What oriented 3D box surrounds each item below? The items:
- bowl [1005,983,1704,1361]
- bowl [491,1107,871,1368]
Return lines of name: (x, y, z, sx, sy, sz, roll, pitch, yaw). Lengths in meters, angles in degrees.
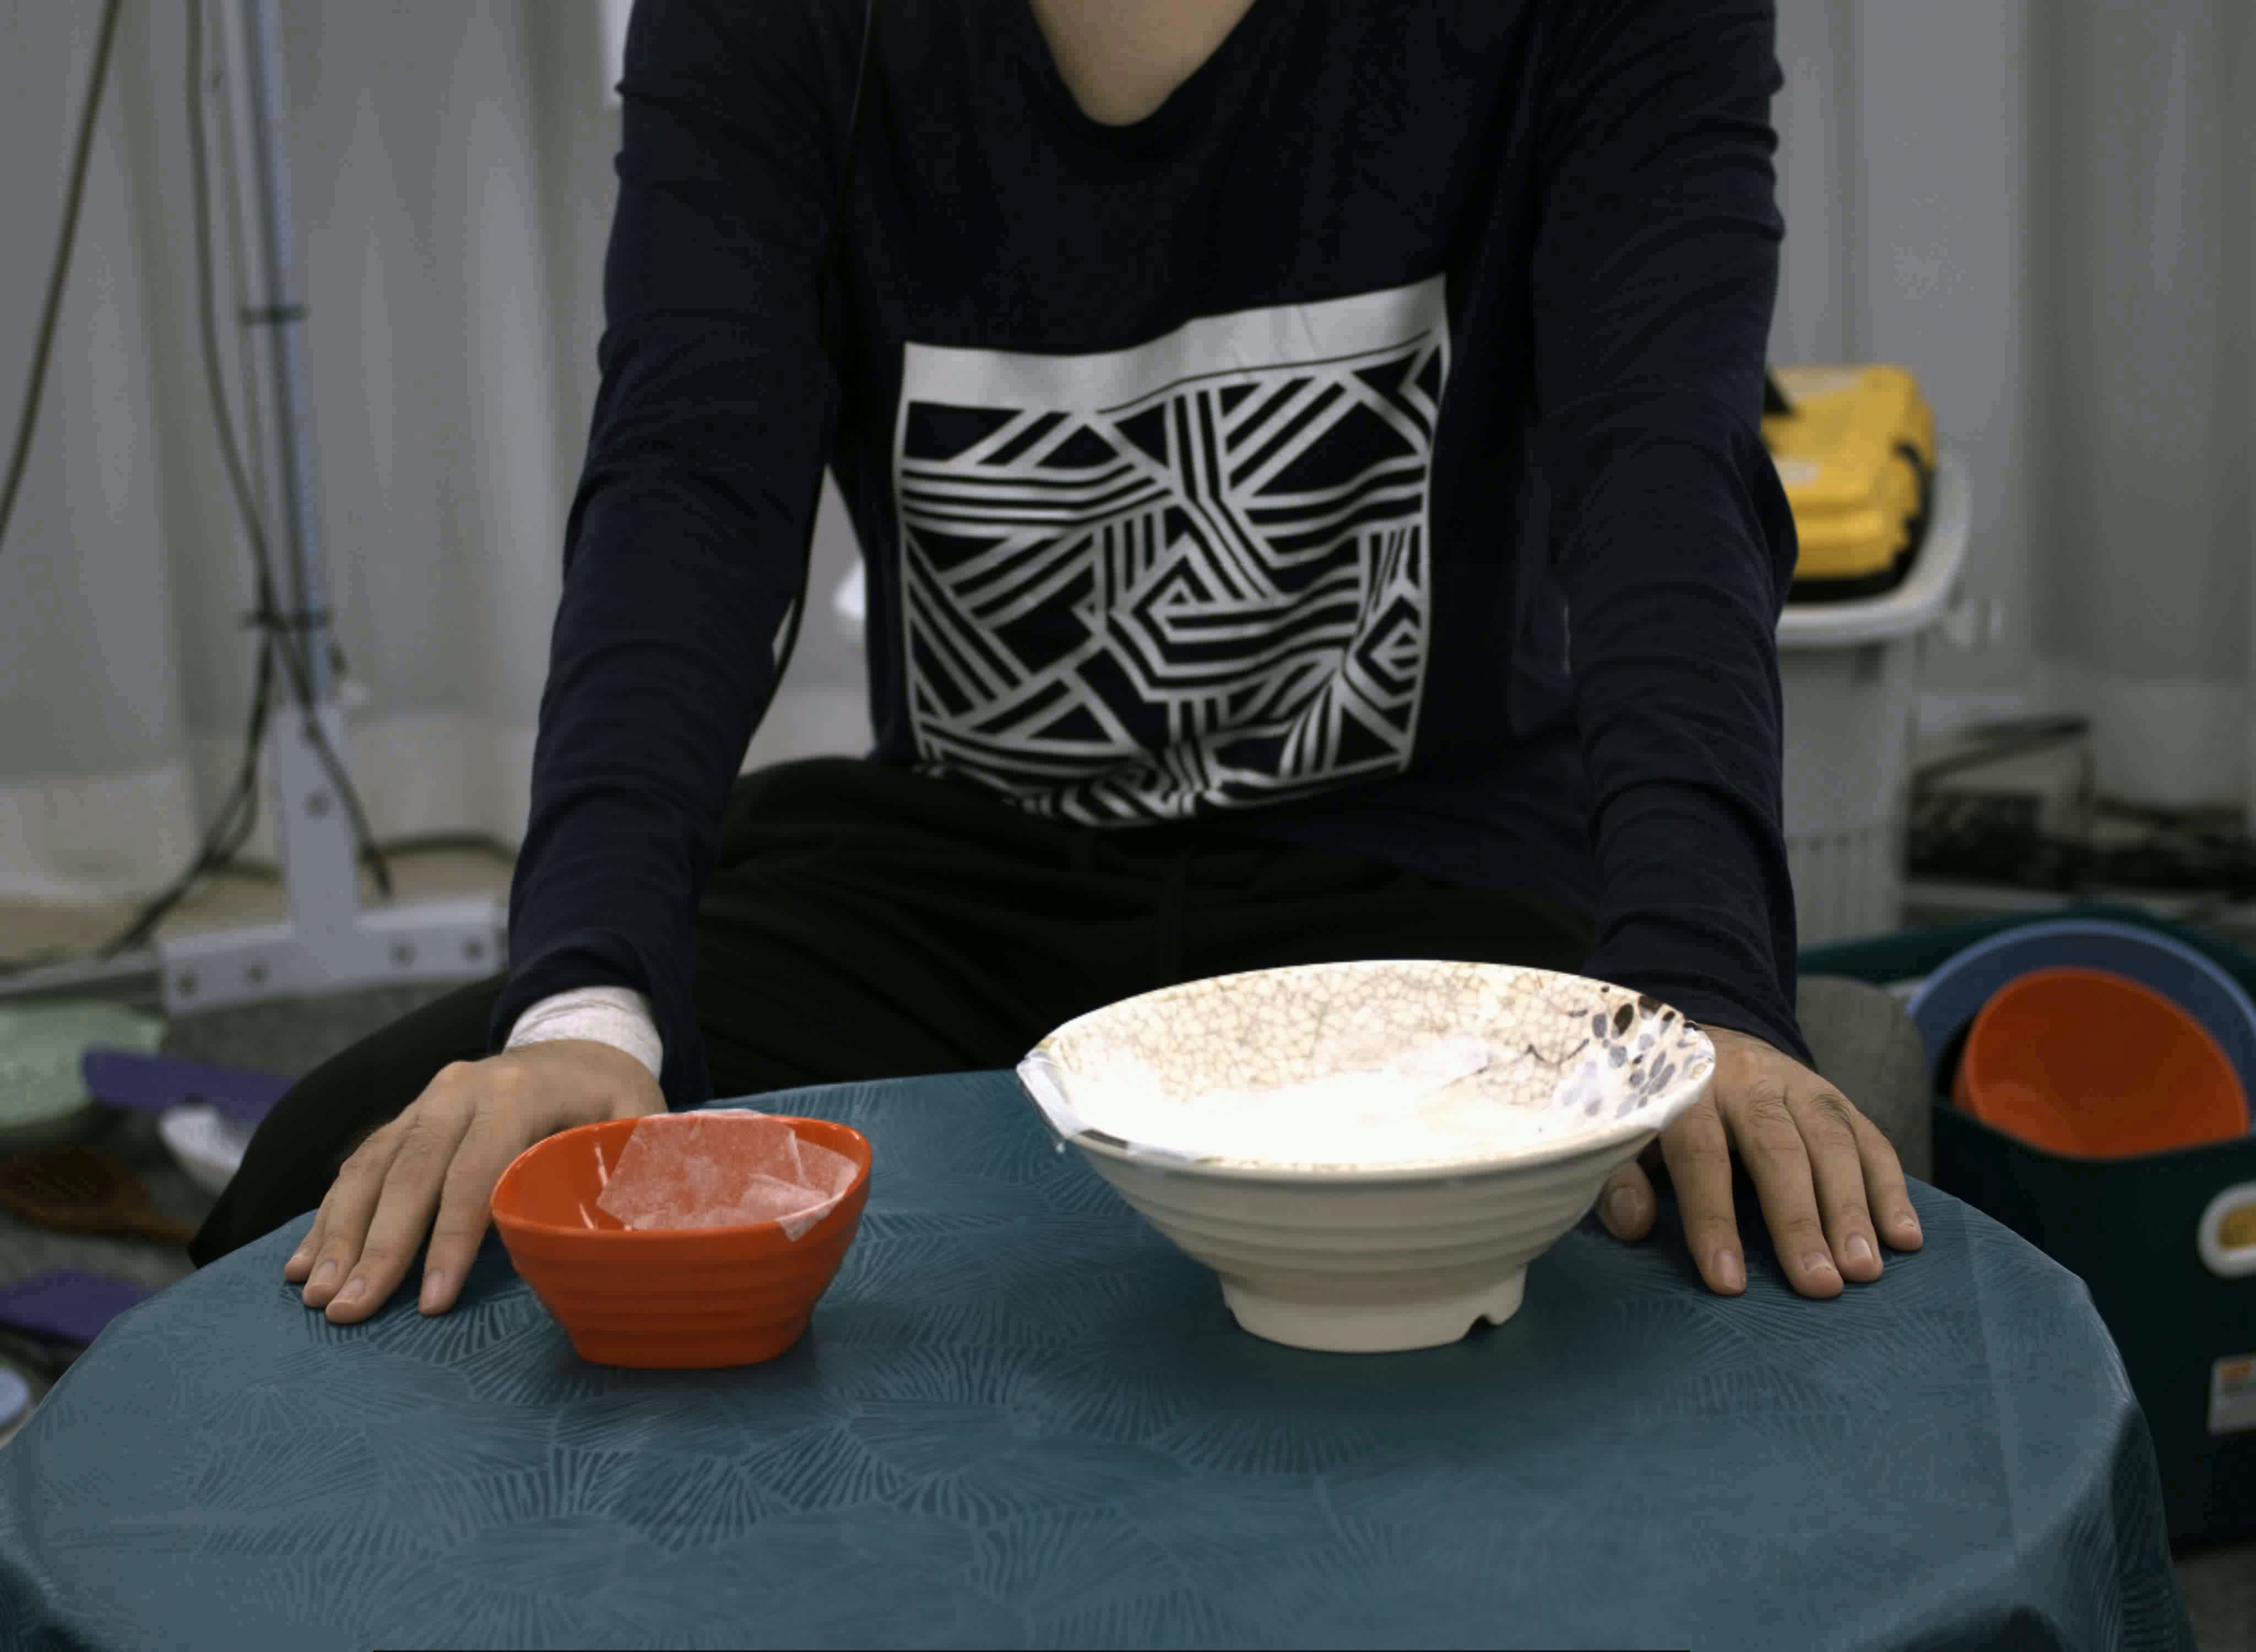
bowl: (0.065, 0.107, 1.596, 0.203, 0.078, 0.205, 0, 11, 0)
bowl: (-0.129, 0.123, 1.607, 0.118, 0.051, 0.120, -4, 15, 1)
